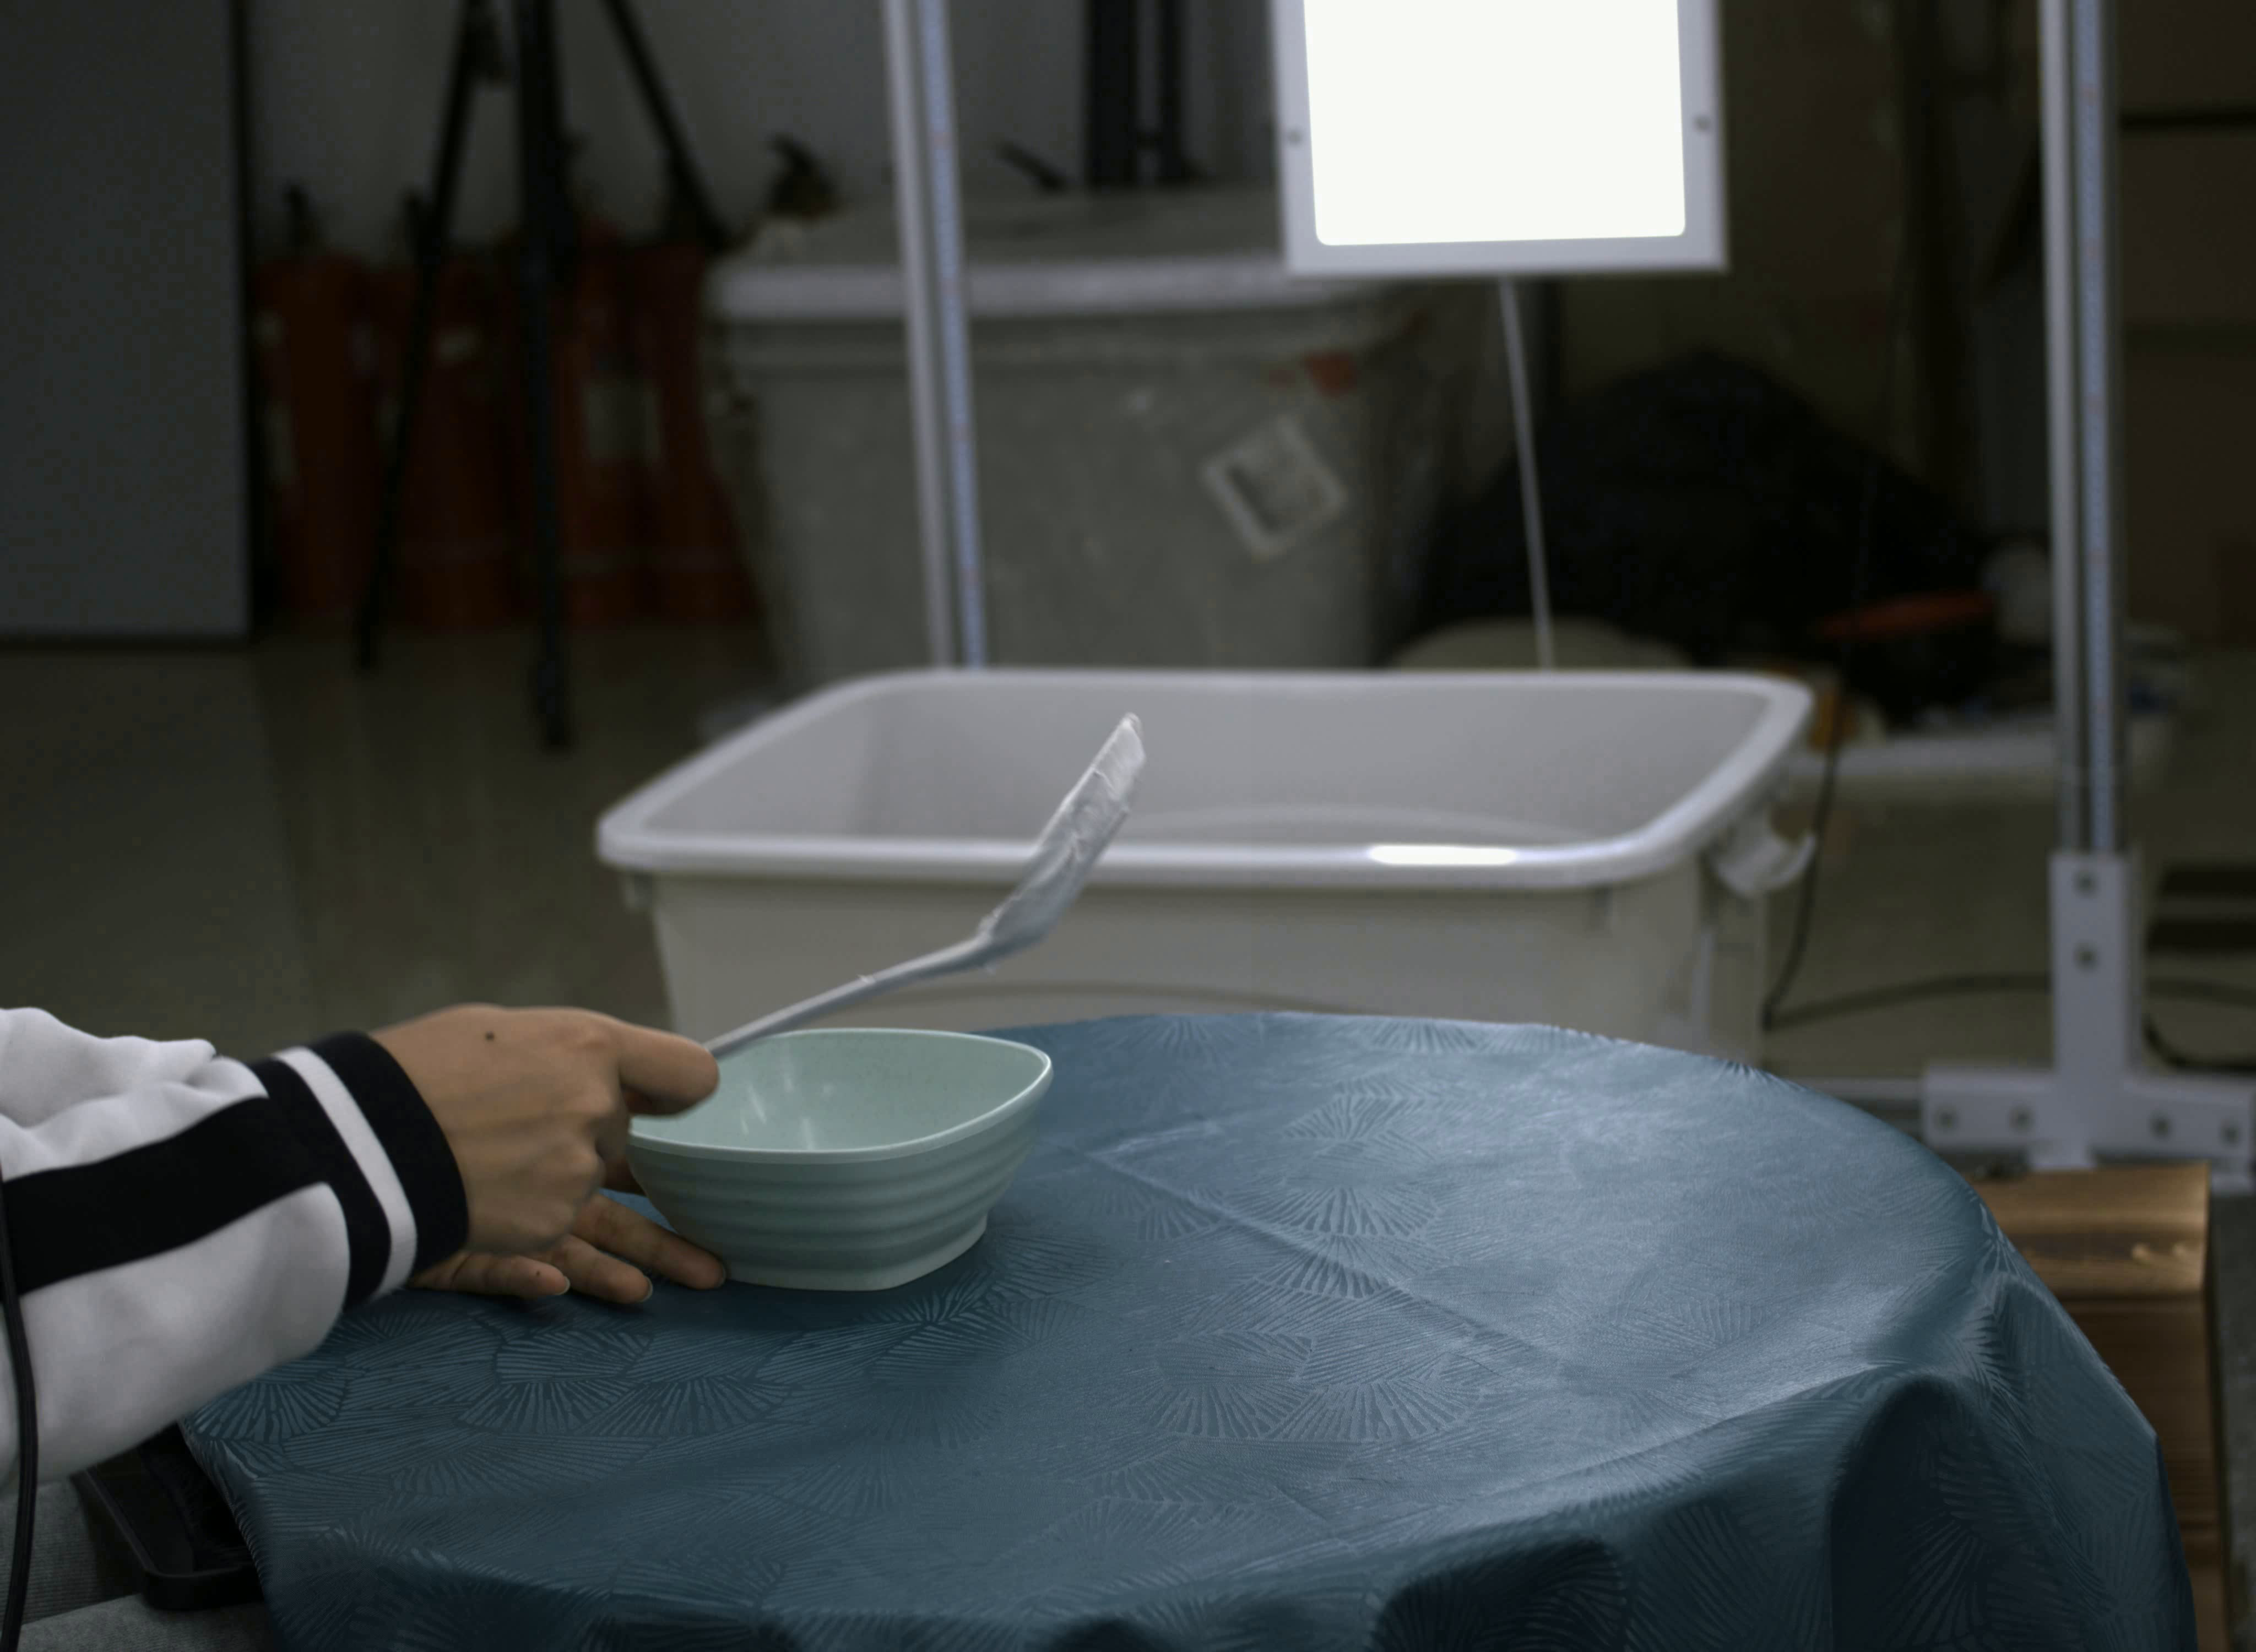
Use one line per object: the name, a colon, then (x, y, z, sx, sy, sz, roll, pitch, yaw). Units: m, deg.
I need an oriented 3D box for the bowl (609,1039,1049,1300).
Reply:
bowl: (-0.098, 0.119, 1.857, 0.151, 0.059, 0.151, -5, 14, 0)

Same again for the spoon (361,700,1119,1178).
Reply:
spoon: (-0.117, 0.036, 1.682, 0.273, 0.060, 0.102, -21, -18, -19)
